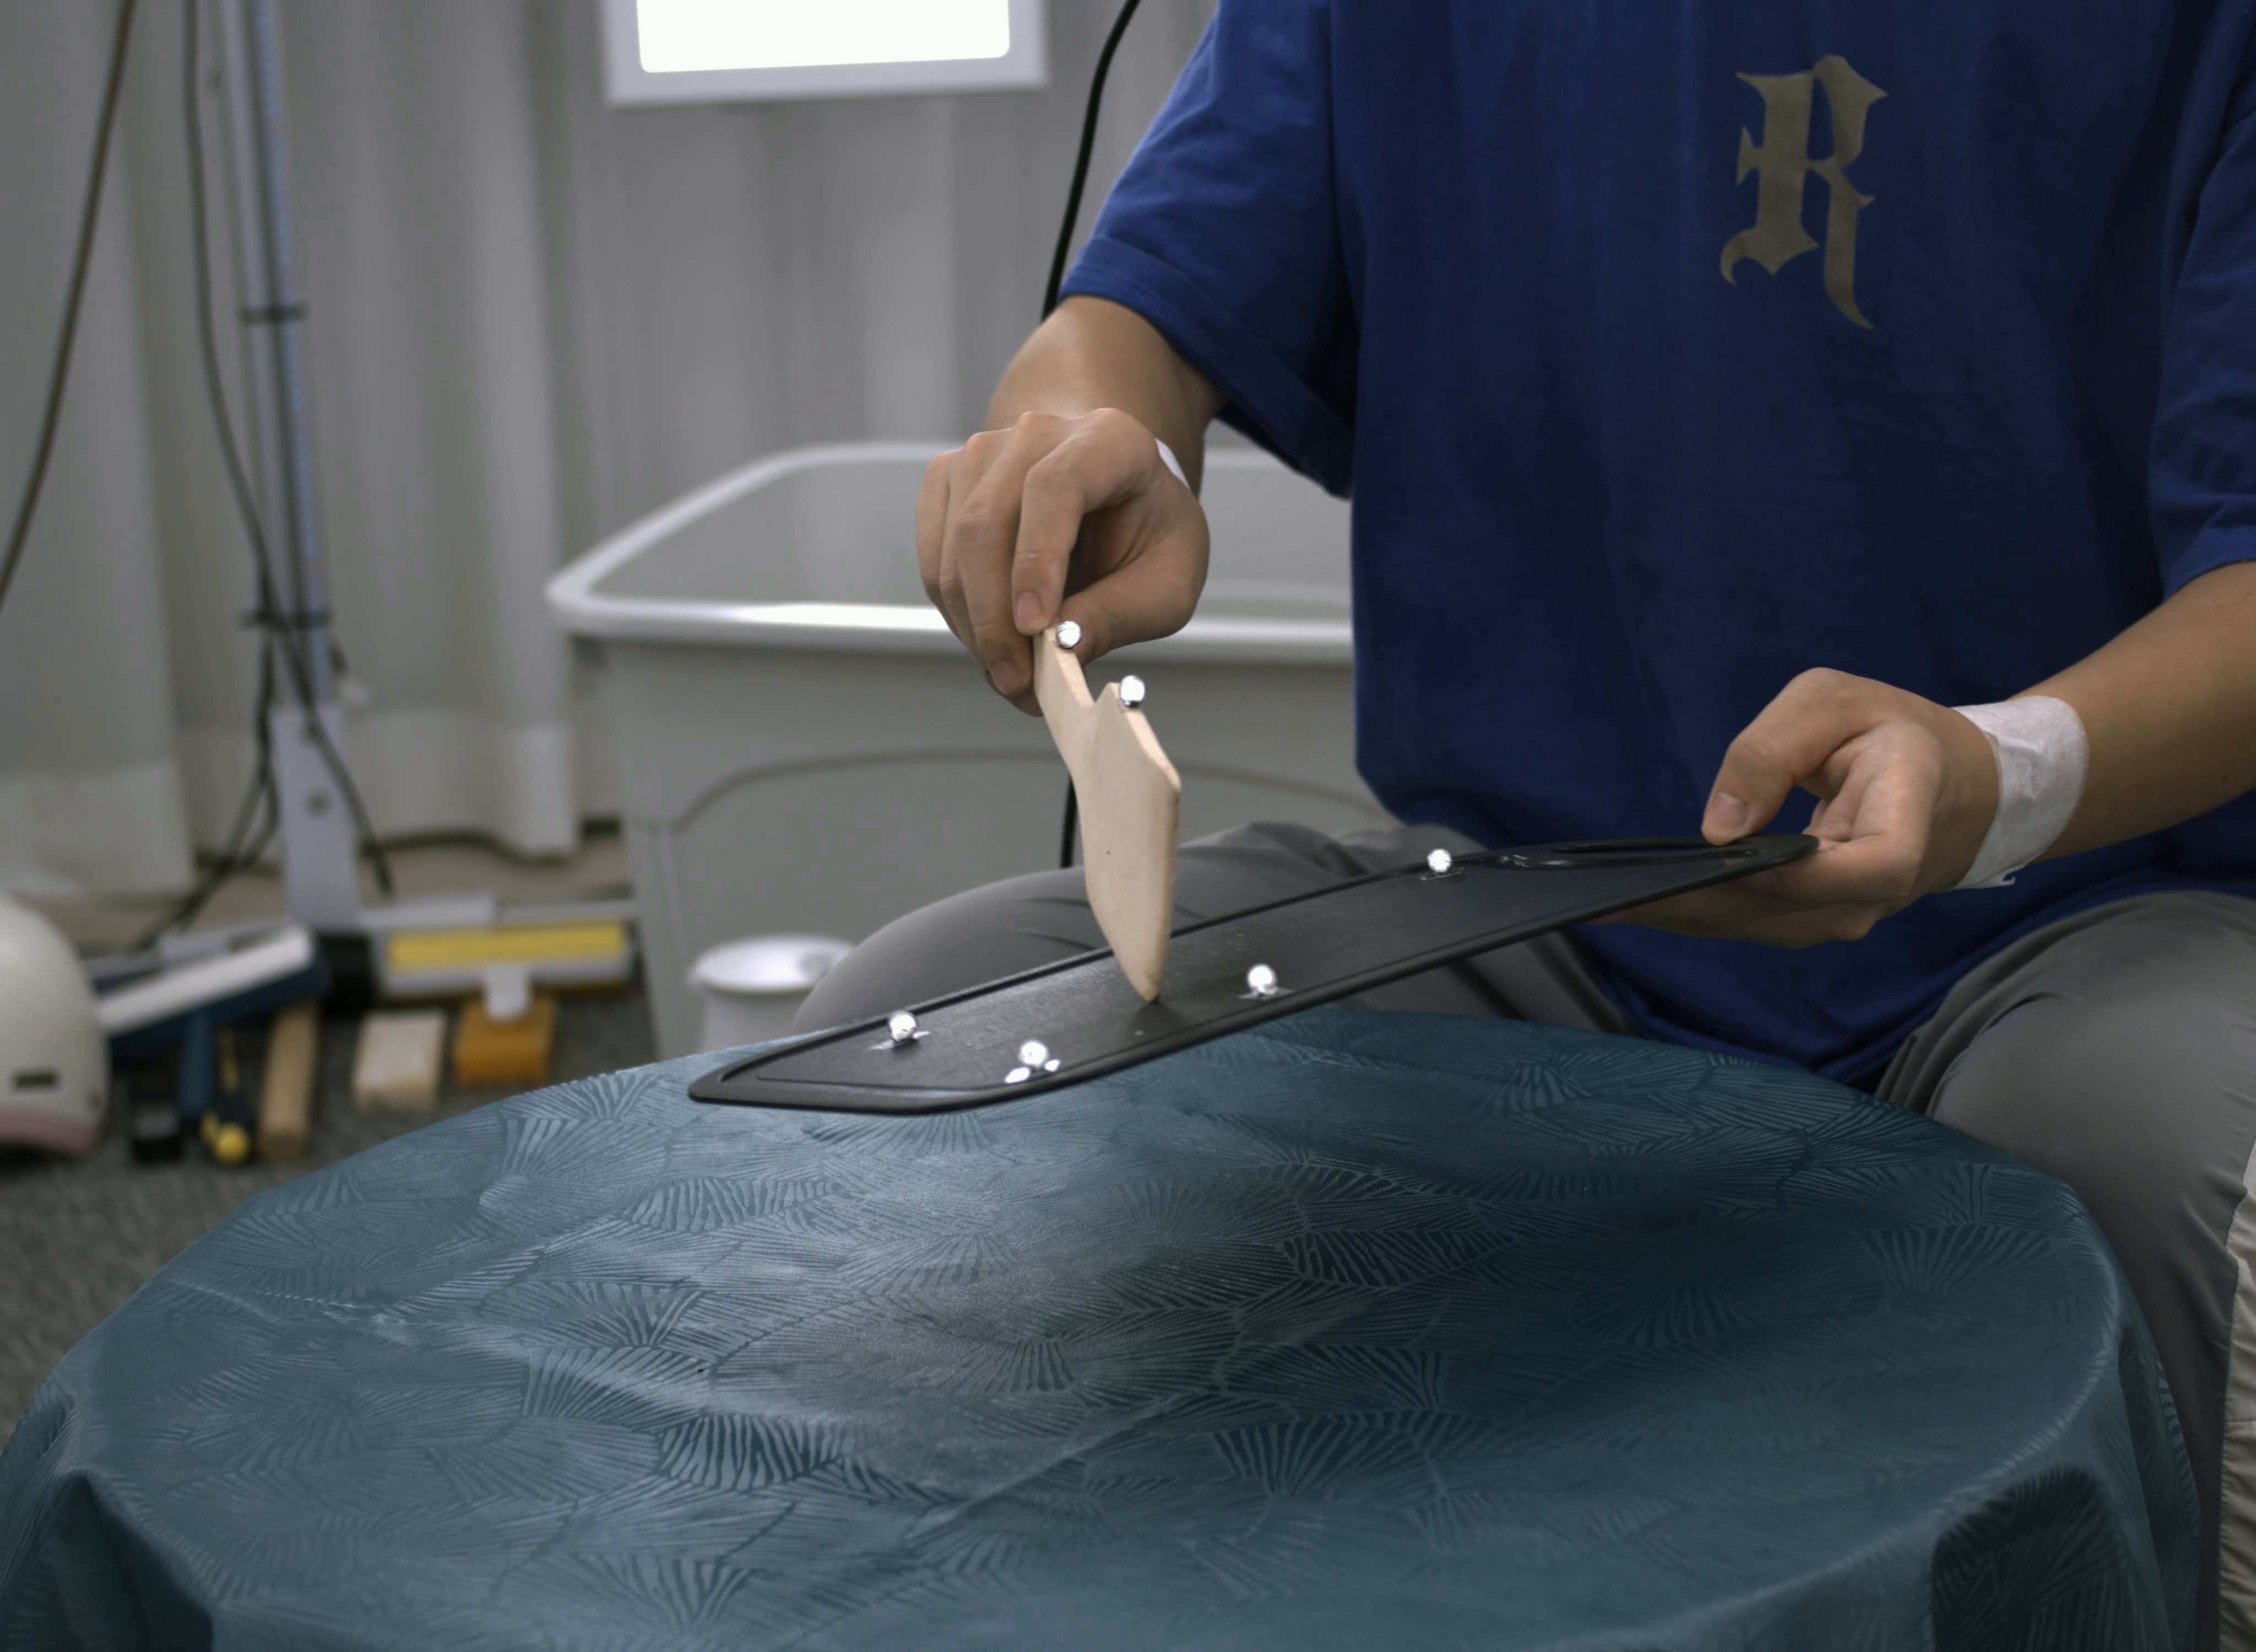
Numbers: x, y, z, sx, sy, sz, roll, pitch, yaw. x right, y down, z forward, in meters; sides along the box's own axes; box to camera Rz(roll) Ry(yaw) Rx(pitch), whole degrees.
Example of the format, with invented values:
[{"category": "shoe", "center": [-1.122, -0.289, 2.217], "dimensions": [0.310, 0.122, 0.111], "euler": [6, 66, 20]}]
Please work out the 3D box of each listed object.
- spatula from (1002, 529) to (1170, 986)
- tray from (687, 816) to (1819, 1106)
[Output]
[{"category": "spatula", "center": [-0.017, -0.036, 1.670], "dimensions": [0.010, 0.072, 0.296], "euler": [1, 21, -10]}, {"category": "tray", "center": [0.042, 0.035, 1.594], "dimensions": [0.324, 0.010, 0.211], "euler": [-16, 7, -28]}]
